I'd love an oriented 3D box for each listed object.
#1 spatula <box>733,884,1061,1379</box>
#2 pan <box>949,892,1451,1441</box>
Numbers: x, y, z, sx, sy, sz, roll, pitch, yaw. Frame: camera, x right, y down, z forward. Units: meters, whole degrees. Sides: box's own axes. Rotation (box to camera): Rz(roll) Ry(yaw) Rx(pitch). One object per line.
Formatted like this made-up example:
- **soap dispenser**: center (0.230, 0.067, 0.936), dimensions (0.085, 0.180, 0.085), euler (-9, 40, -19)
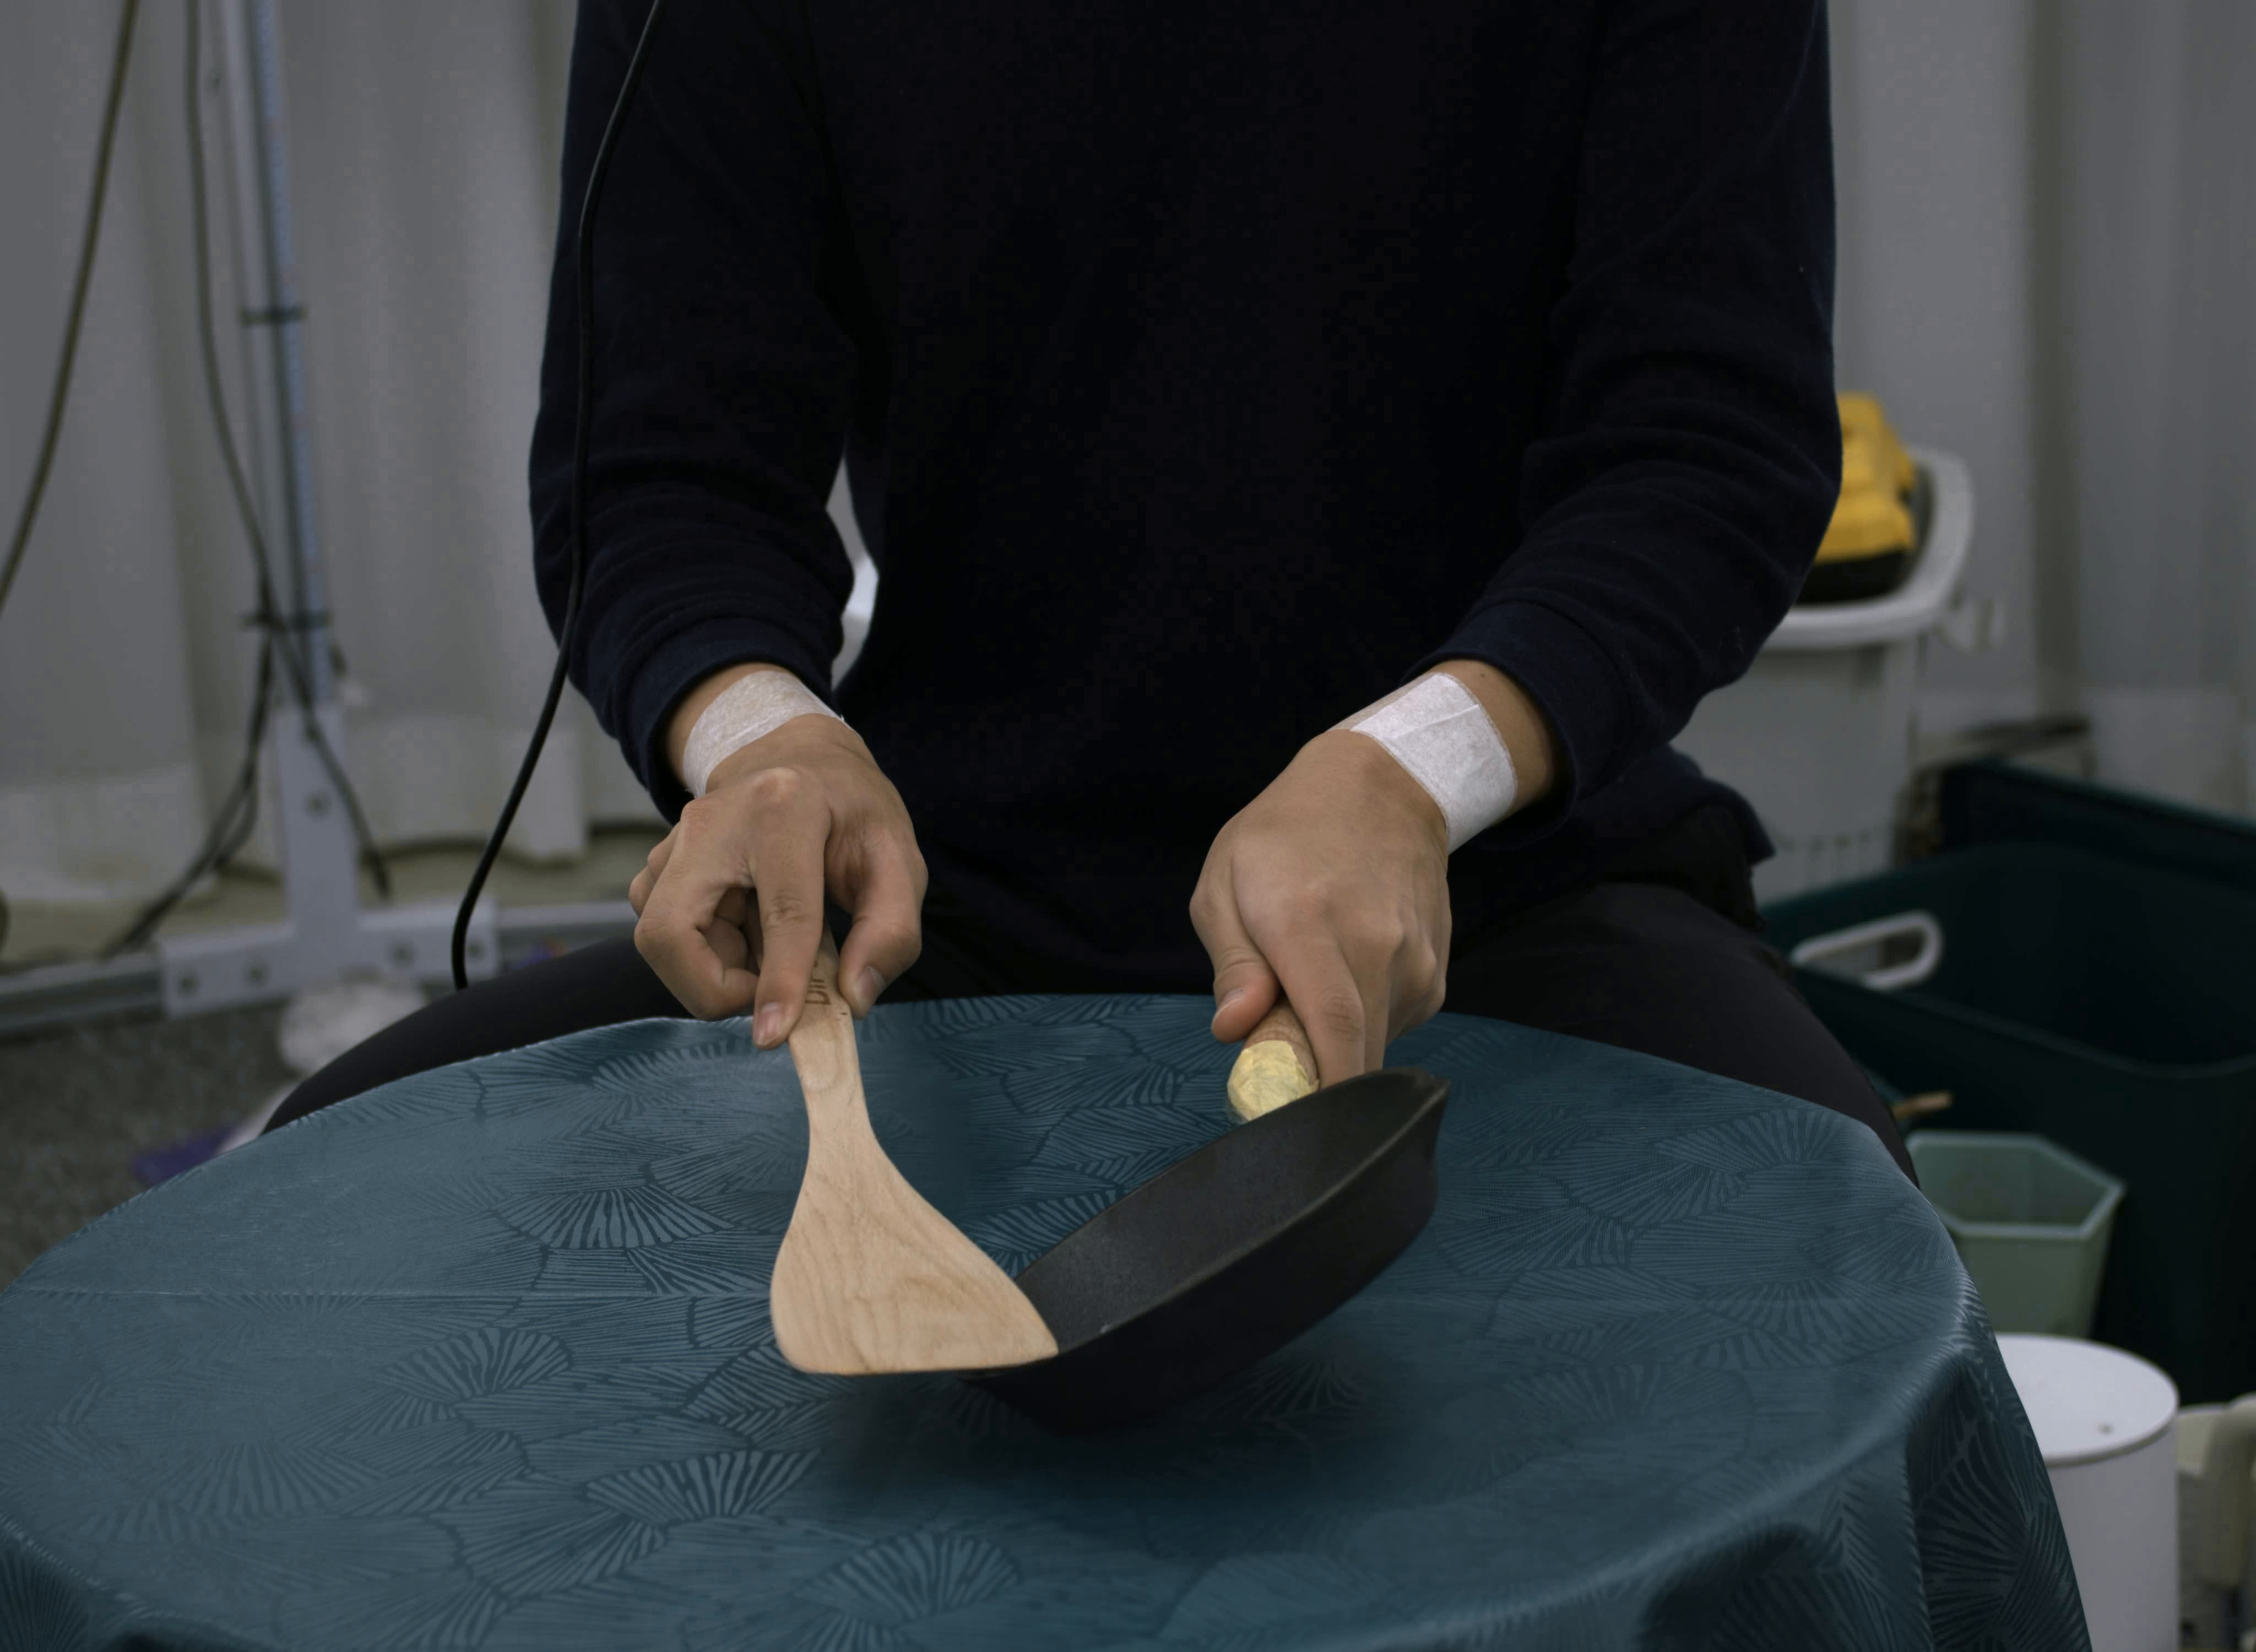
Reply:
- **spatula**: center (-0.083, 0.086, 1.618), dimensions (0.079, 0.016, 0.331), euler (3, 24, -14)
- **pan**: center (0.040, 0.091, 1.595), dimensions (0.168, 0.049, 0.326), euler (-29, 9, 20)
